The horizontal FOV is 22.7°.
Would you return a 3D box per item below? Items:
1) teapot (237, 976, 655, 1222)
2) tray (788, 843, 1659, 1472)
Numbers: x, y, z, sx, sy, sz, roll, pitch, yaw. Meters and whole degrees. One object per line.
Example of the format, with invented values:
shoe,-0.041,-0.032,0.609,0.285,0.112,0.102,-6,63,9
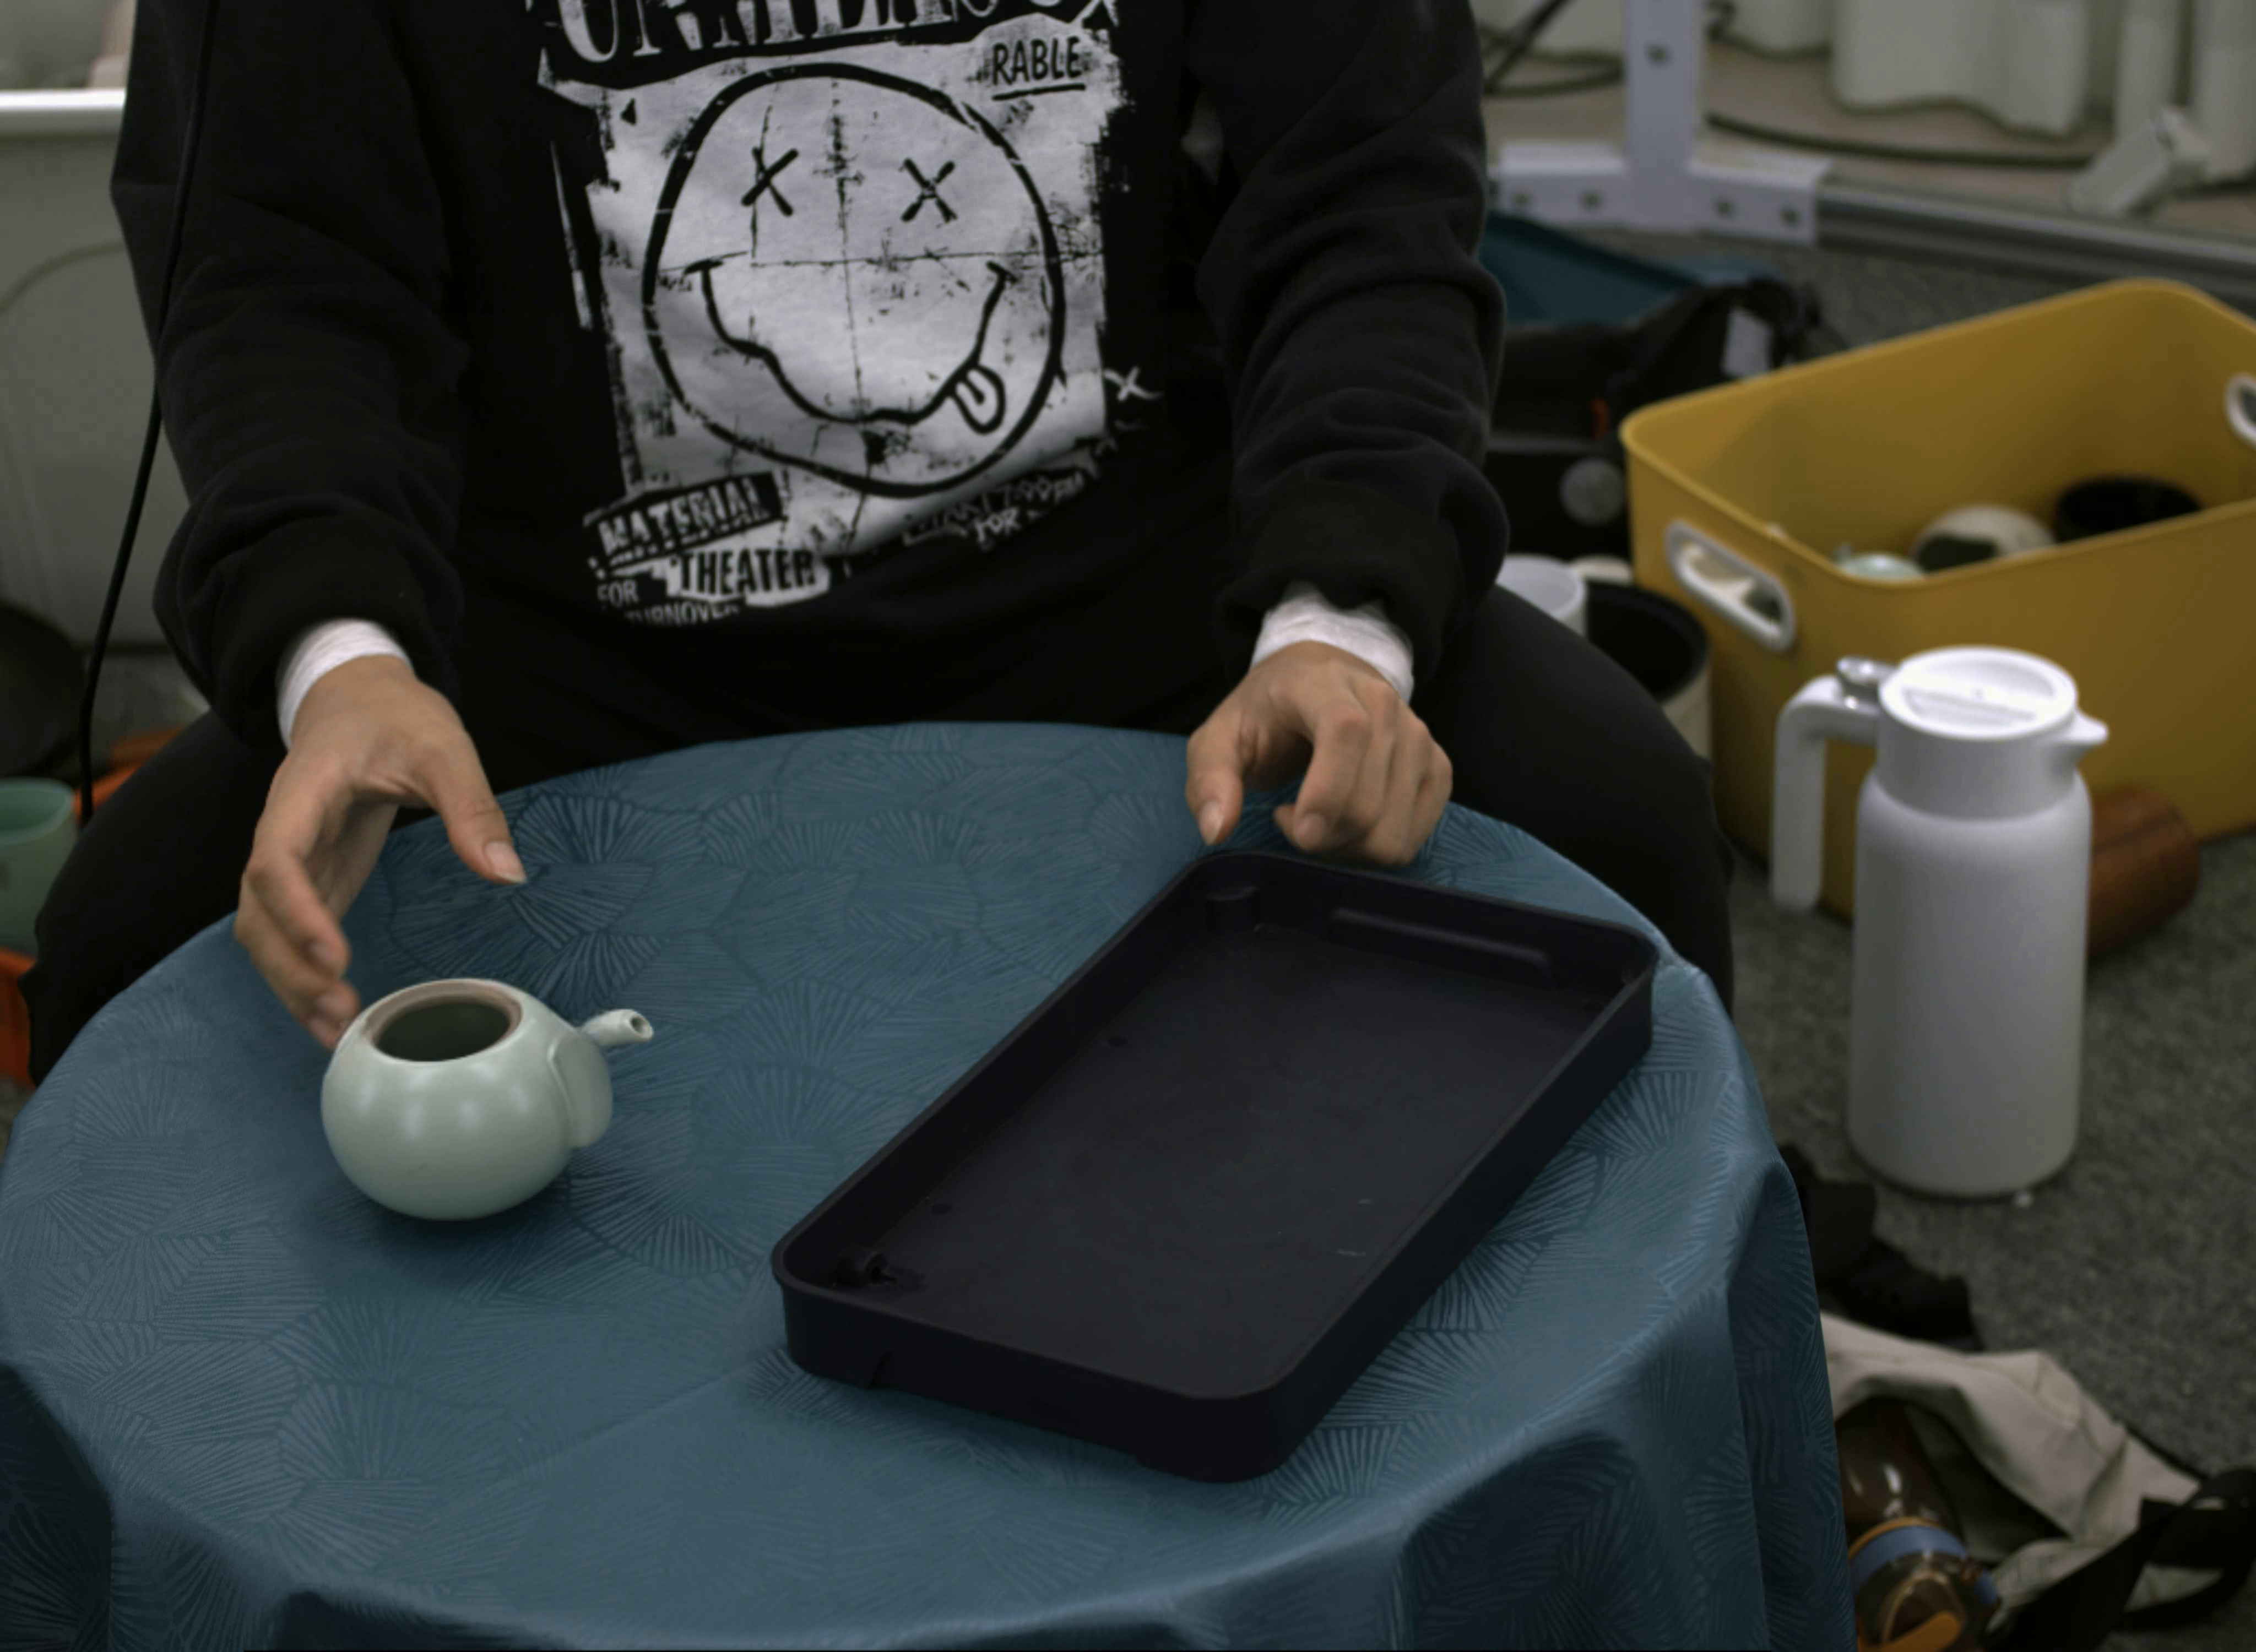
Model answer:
teapot,-0.225,0.090,1.863,0.143,0.074,0.090,5,28,11
tray,0.038,0.102,1.855,0.183,0.036,0.323,10,30,25
